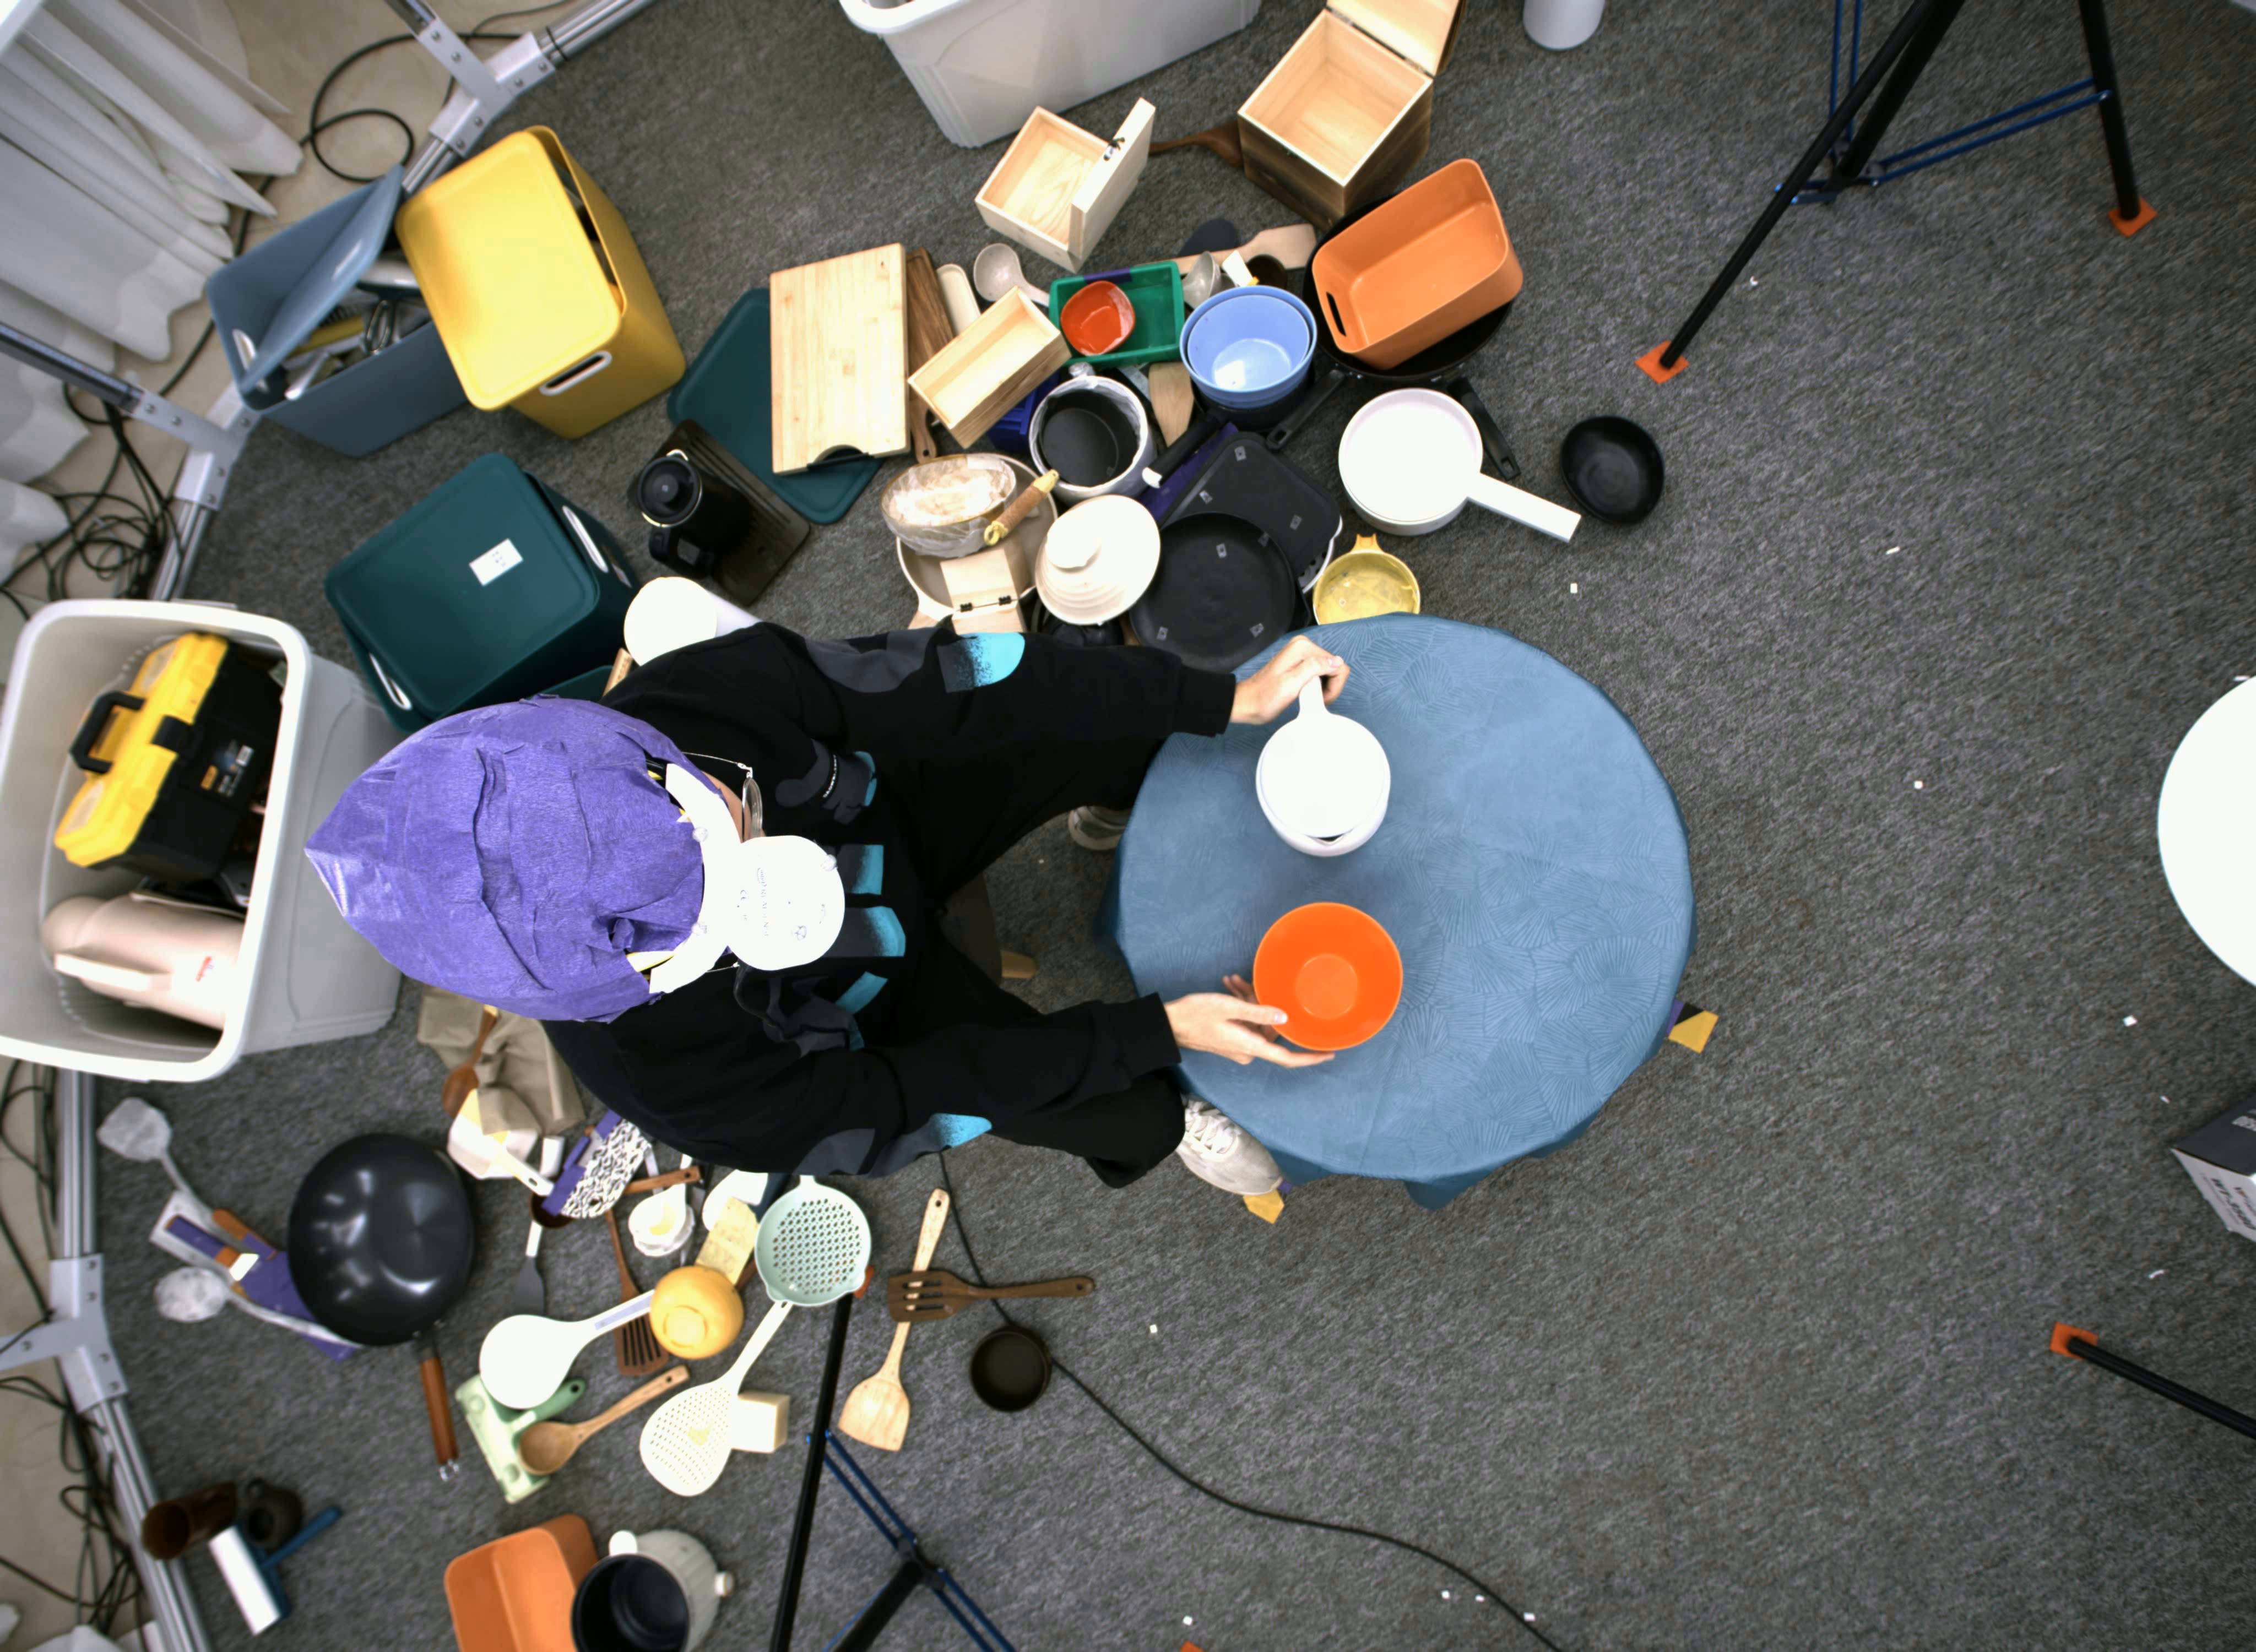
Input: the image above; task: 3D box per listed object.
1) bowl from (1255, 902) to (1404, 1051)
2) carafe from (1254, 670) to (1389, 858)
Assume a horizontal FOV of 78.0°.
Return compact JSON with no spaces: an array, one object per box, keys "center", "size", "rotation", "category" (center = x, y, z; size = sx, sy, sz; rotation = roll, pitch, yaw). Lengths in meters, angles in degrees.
[{"center":[0.206,0.153,1.412],"size":[0.148,0.105,0.147],"rotation":[-1,86,10],"category":"bowl"},{"center":[0.191,-0.064,1.390],"size":[0.133,0.183,0.189],"rotation":[-10,82,8],"category":"carafe"}]
